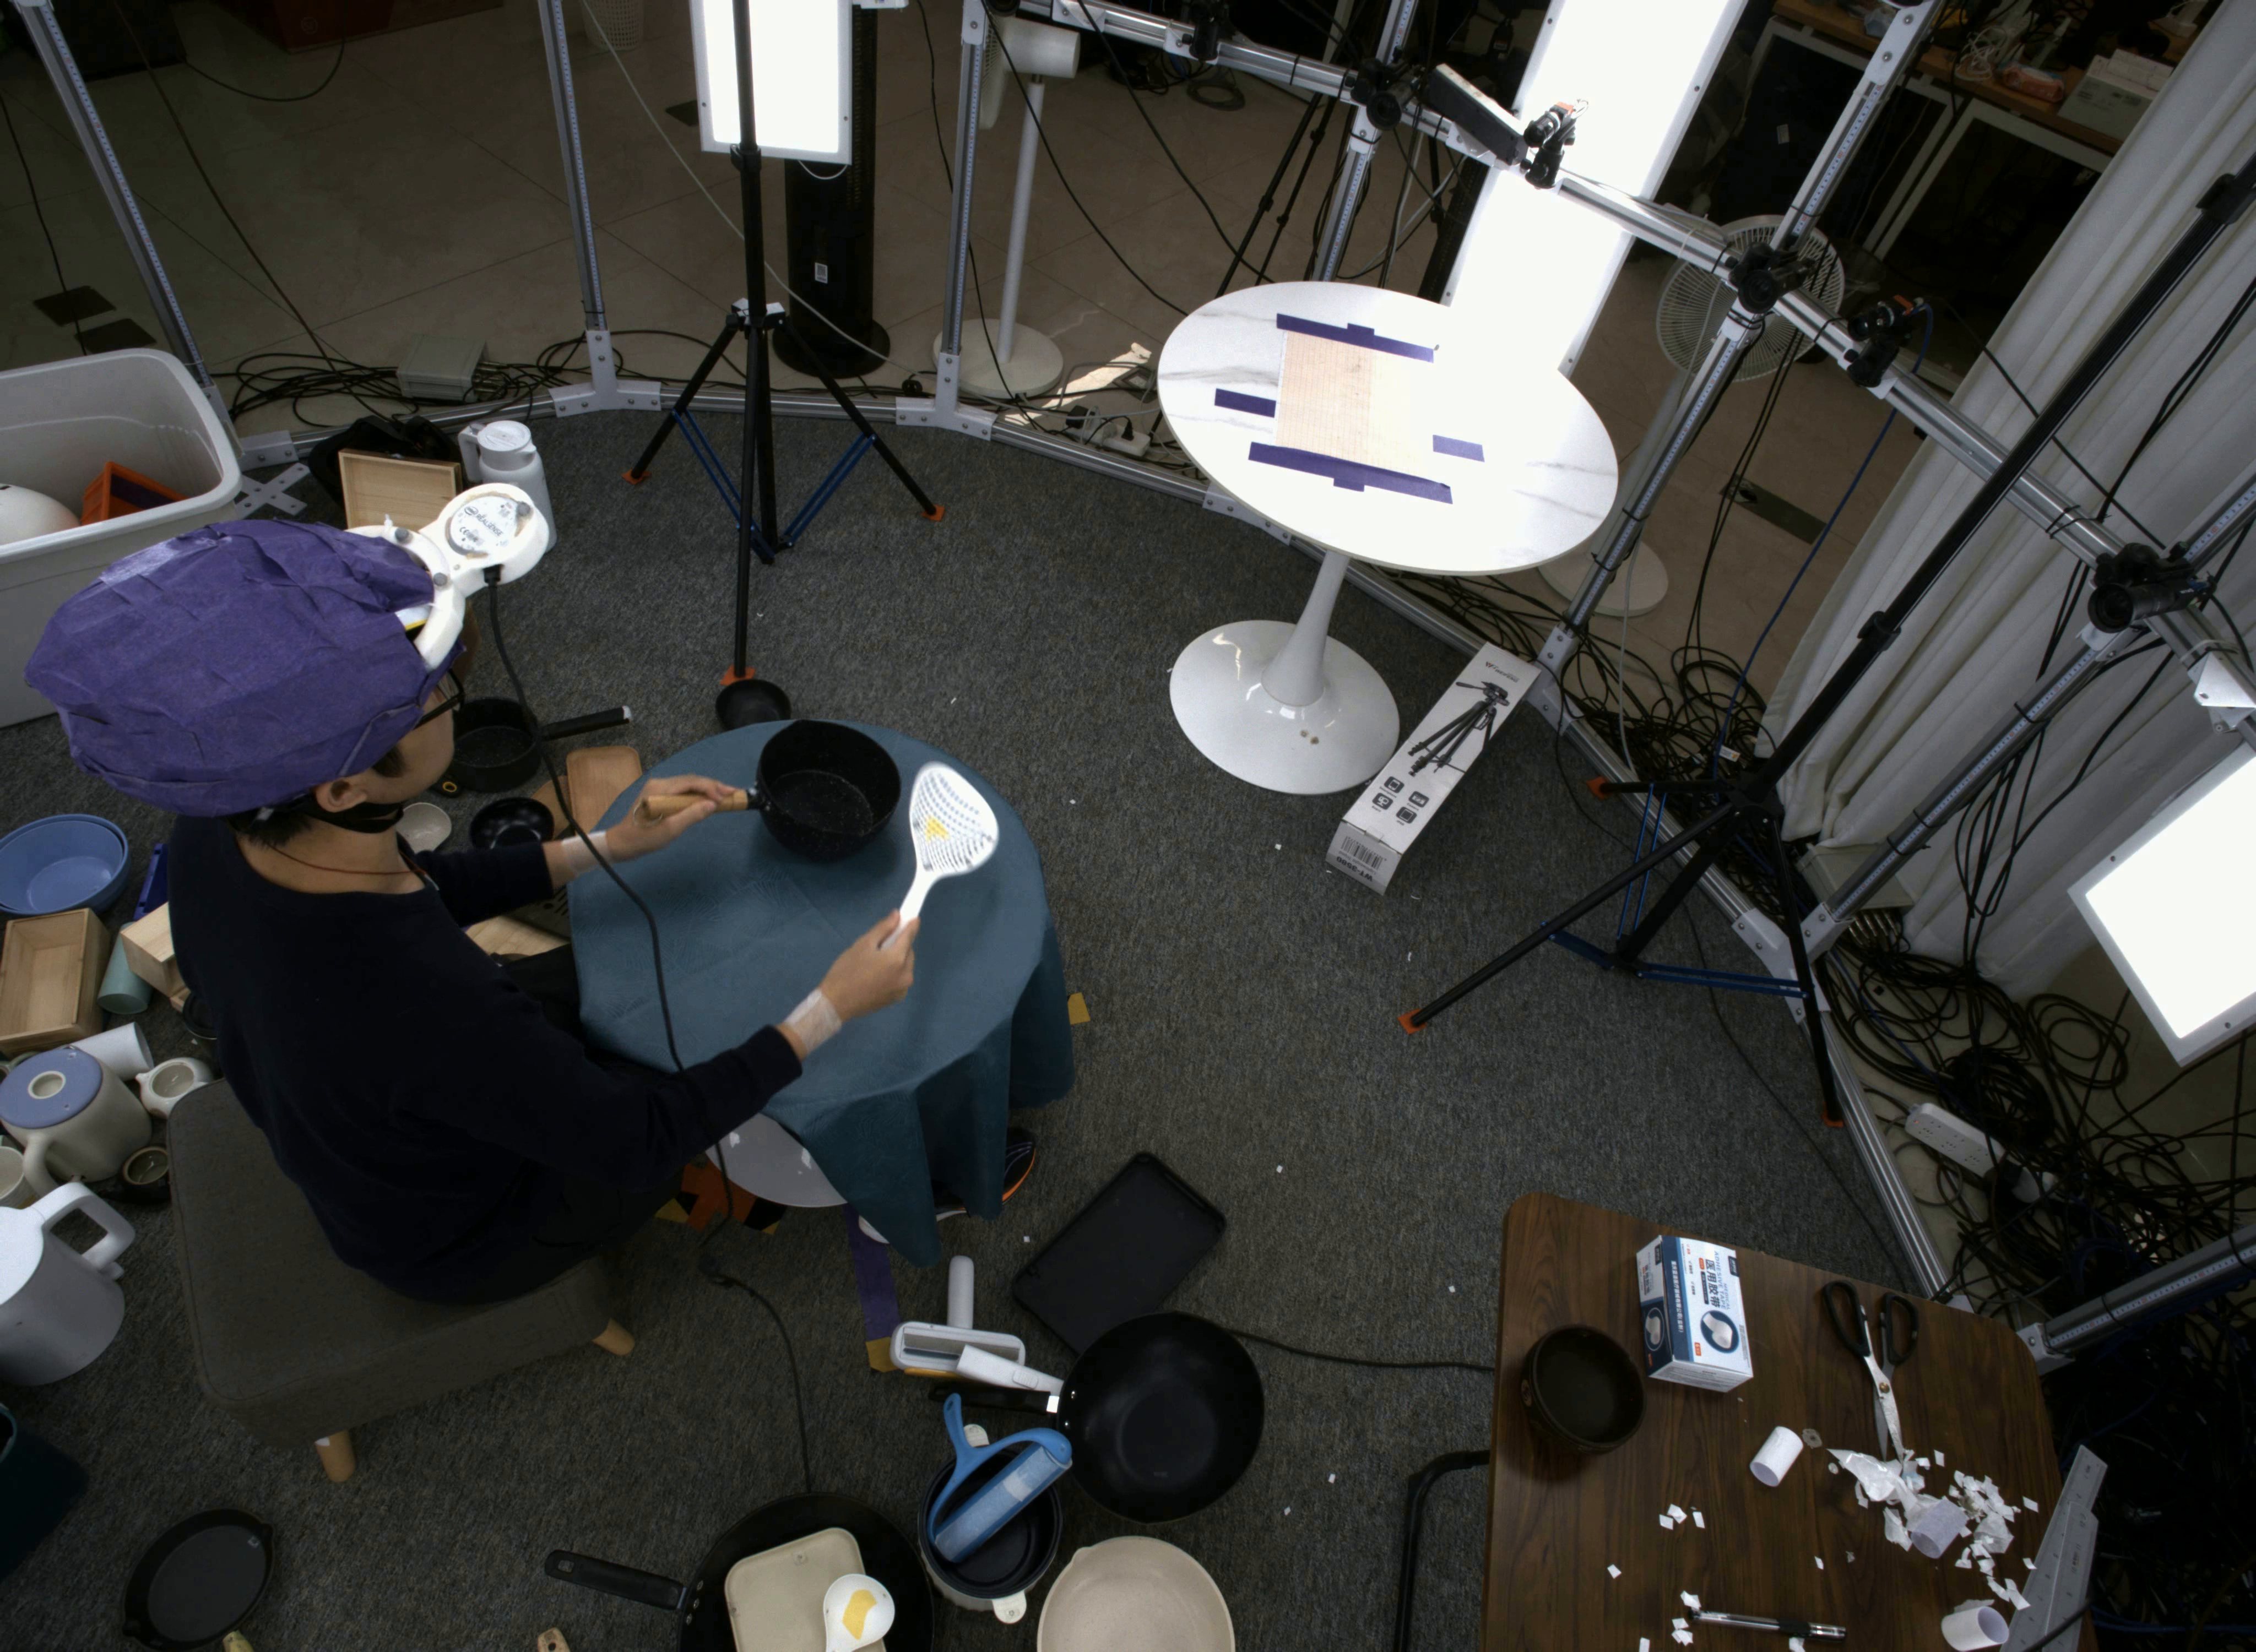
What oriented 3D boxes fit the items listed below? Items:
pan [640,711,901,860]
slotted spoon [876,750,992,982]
[{"bbox_3d":[-0.450,-0.034,1.623,0.347,0.109,0.203,-15,63,-40],"label":"pan"},{"bbox_3d":[-0.247,0.045,1.556,0.141,0.049,0.341,47,30,-27],"label":"slotted spoon"}]
